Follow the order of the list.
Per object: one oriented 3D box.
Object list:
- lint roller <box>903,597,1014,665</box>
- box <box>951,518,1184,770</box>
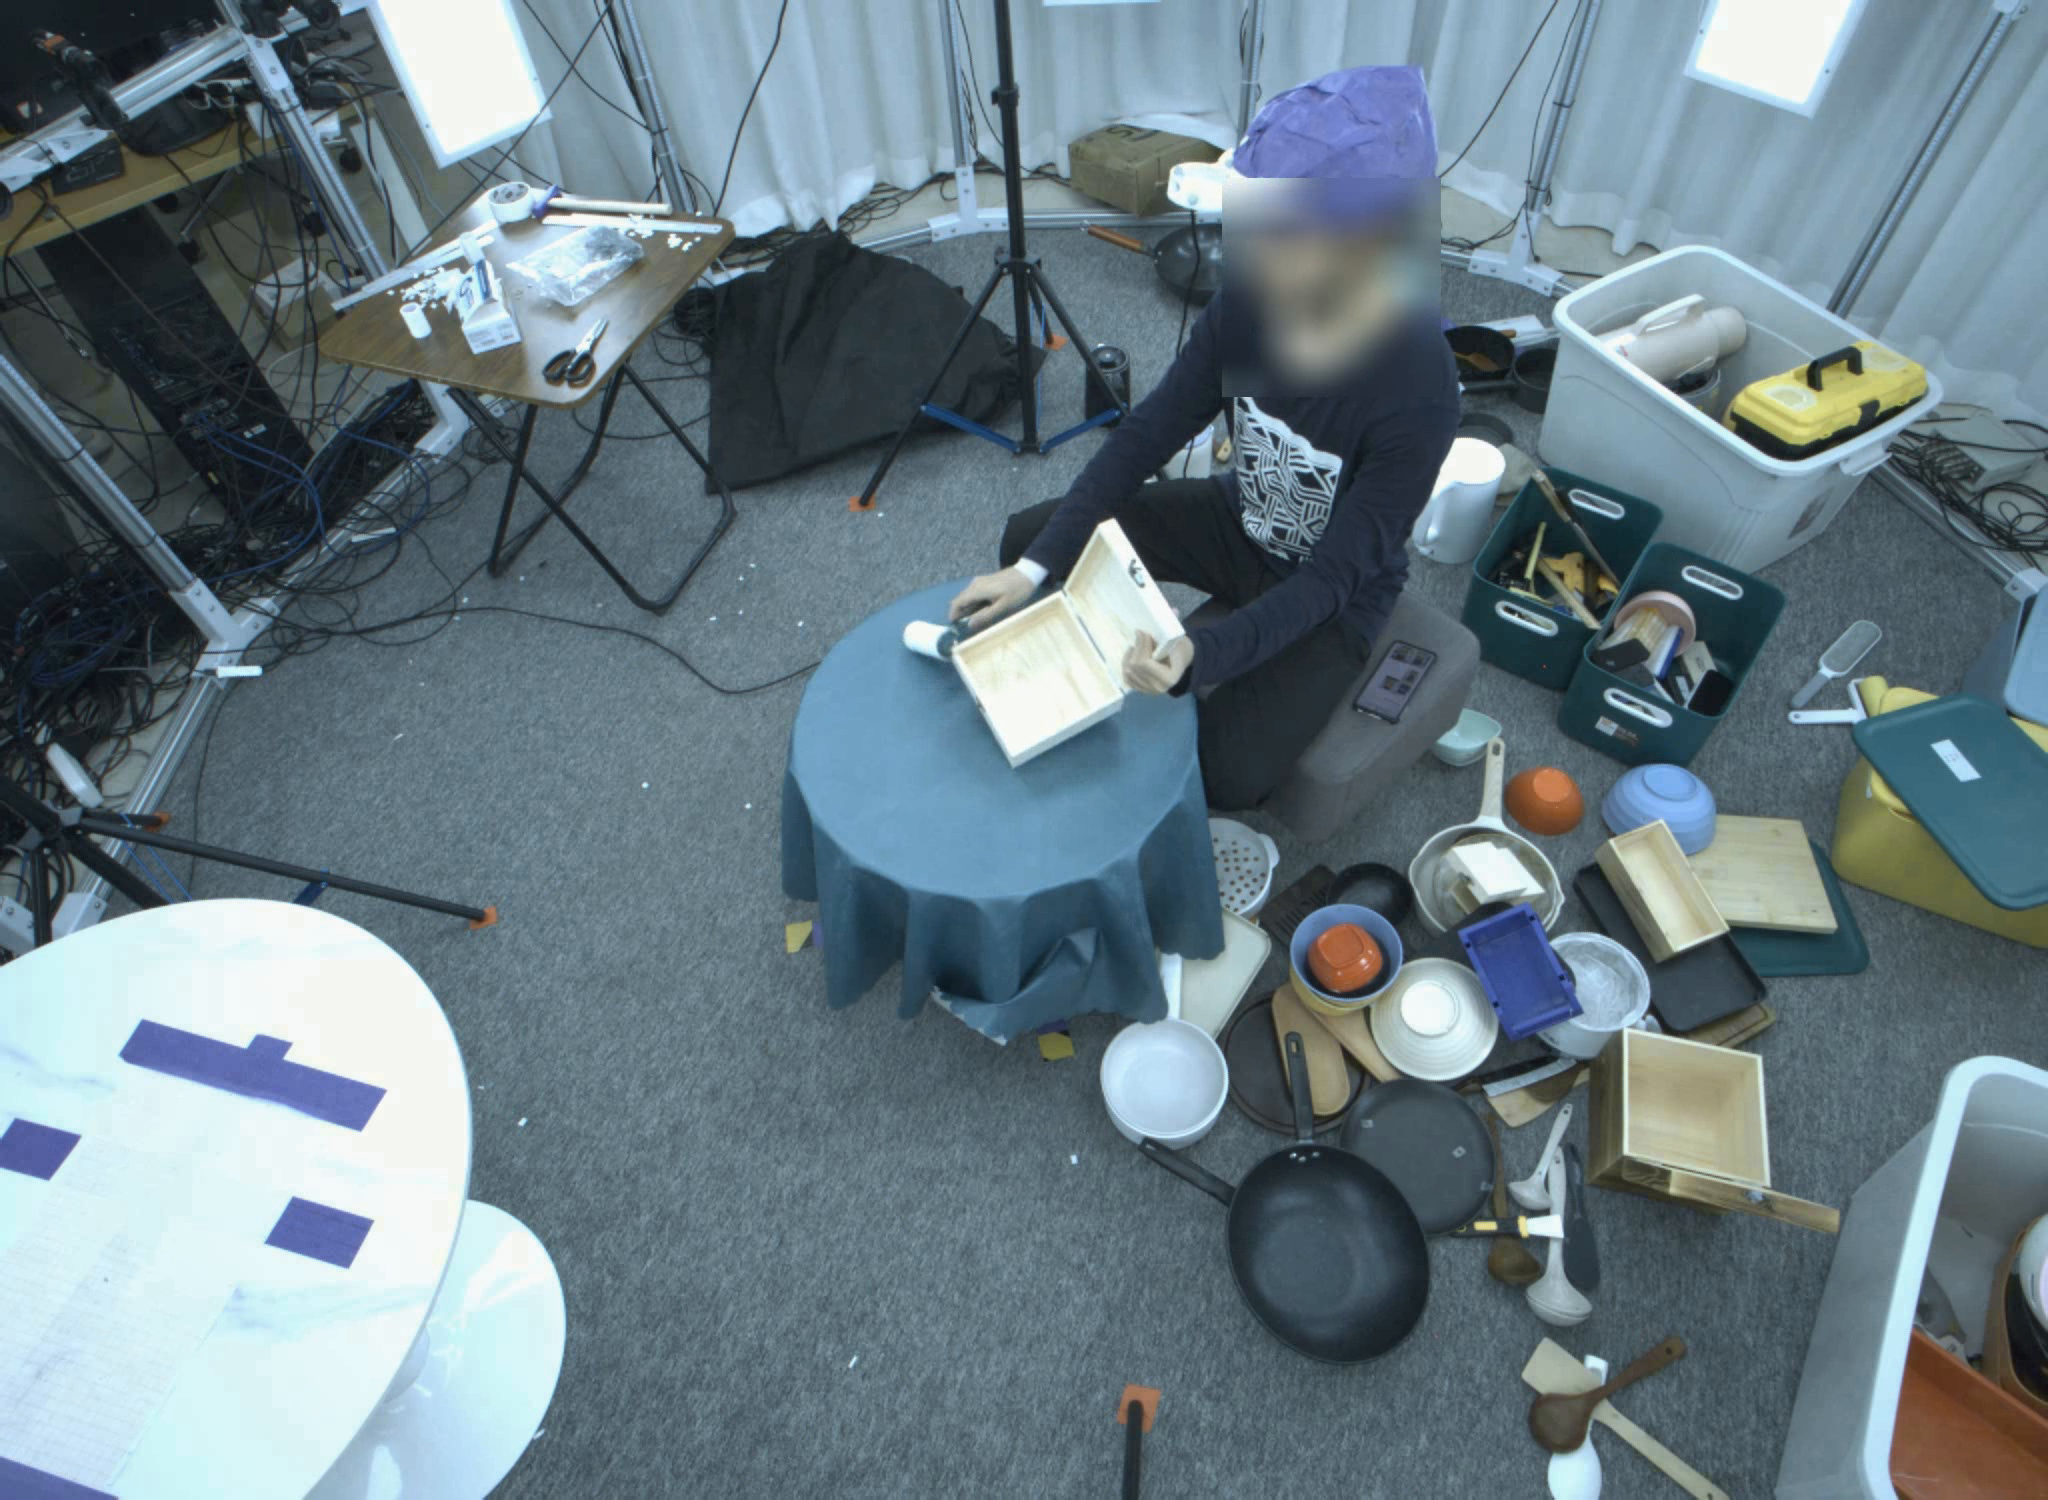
[{"bbox_3d":[-0.090,-0.202,1.888,0.181,0.049,0.131,-40,37,-22],"label":"lint roller"},{"bbox_3d":[0.047,-0.137,1.687,0.266,0.254,0.180,-30,78,-8],"label":"box"}]
